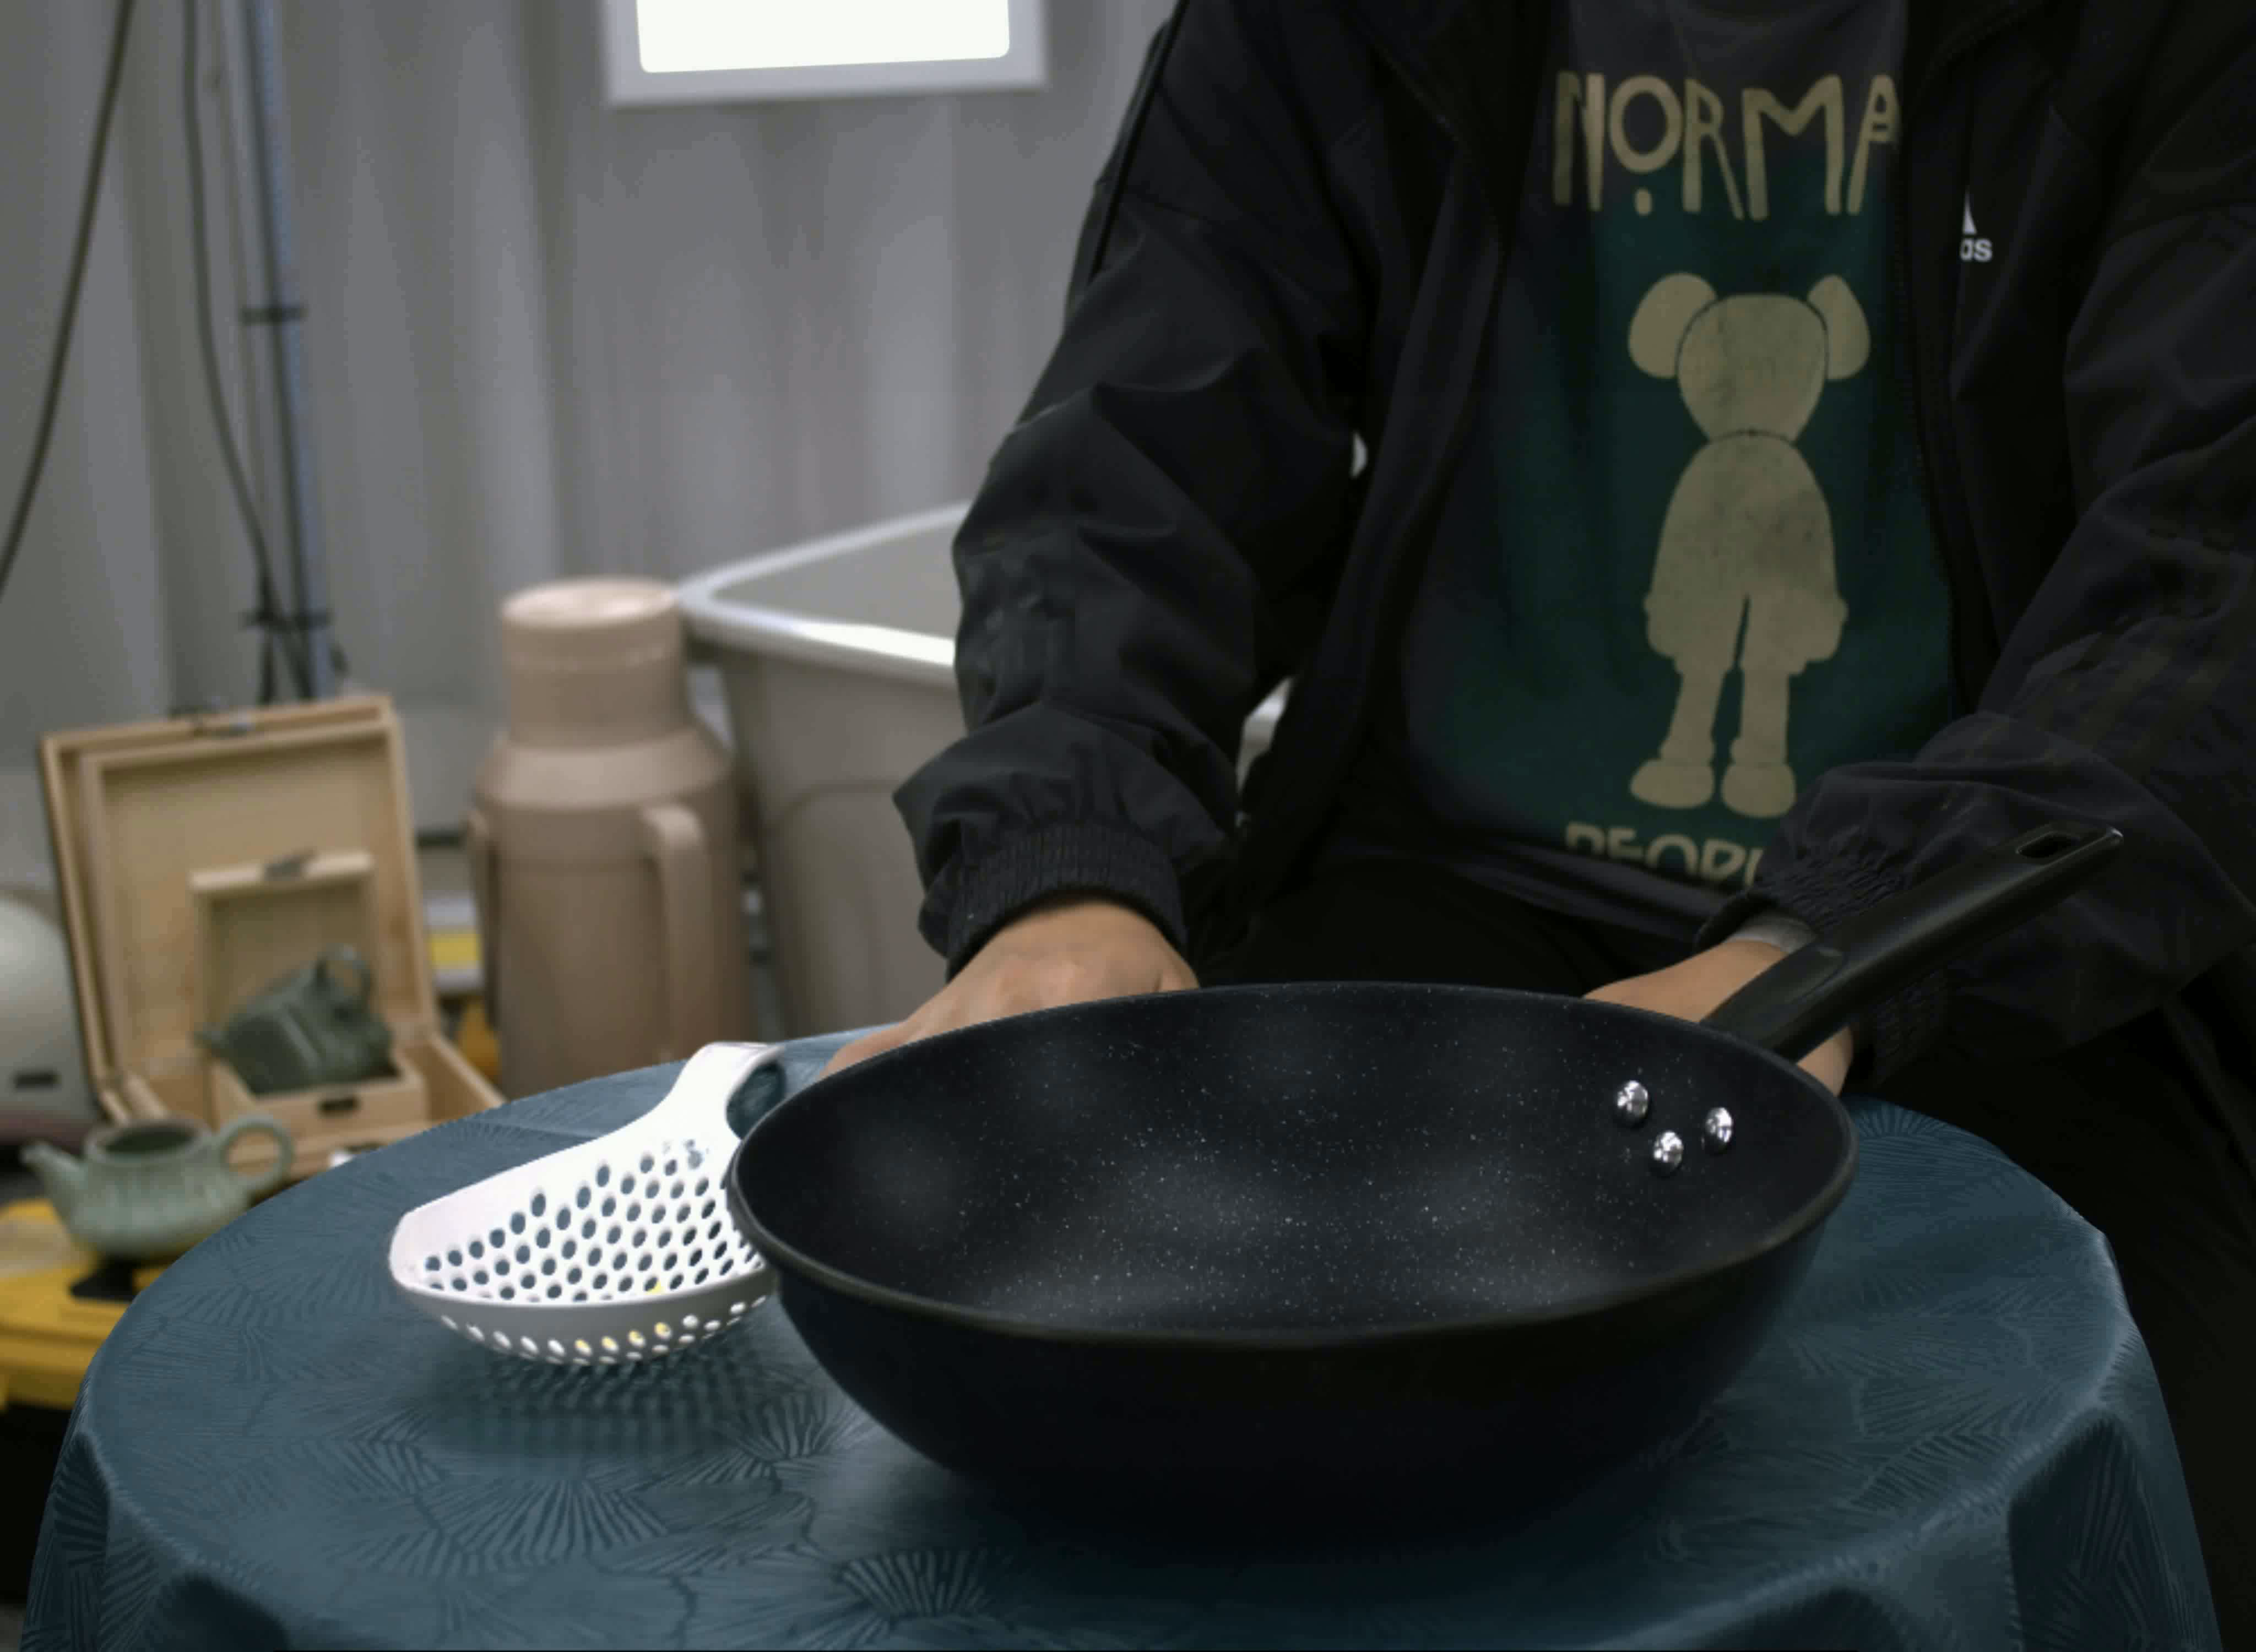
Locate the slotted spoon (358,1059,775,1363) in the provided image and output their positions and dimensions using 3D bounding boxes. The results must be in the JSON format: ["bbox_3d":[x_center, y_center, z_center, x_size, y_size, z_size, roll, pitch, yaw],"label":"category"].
[{"bbox_3d":[-0.140,0.105,1.697,0.136,0.050,0.350,-3,15,7],"label":"slotted spoon"}]

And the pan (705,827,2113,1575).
[{"bbox_3d":[0.106,0.102,1.537,0.475,0.111,0.312,-15,20,-35],"label":"pan"}]
